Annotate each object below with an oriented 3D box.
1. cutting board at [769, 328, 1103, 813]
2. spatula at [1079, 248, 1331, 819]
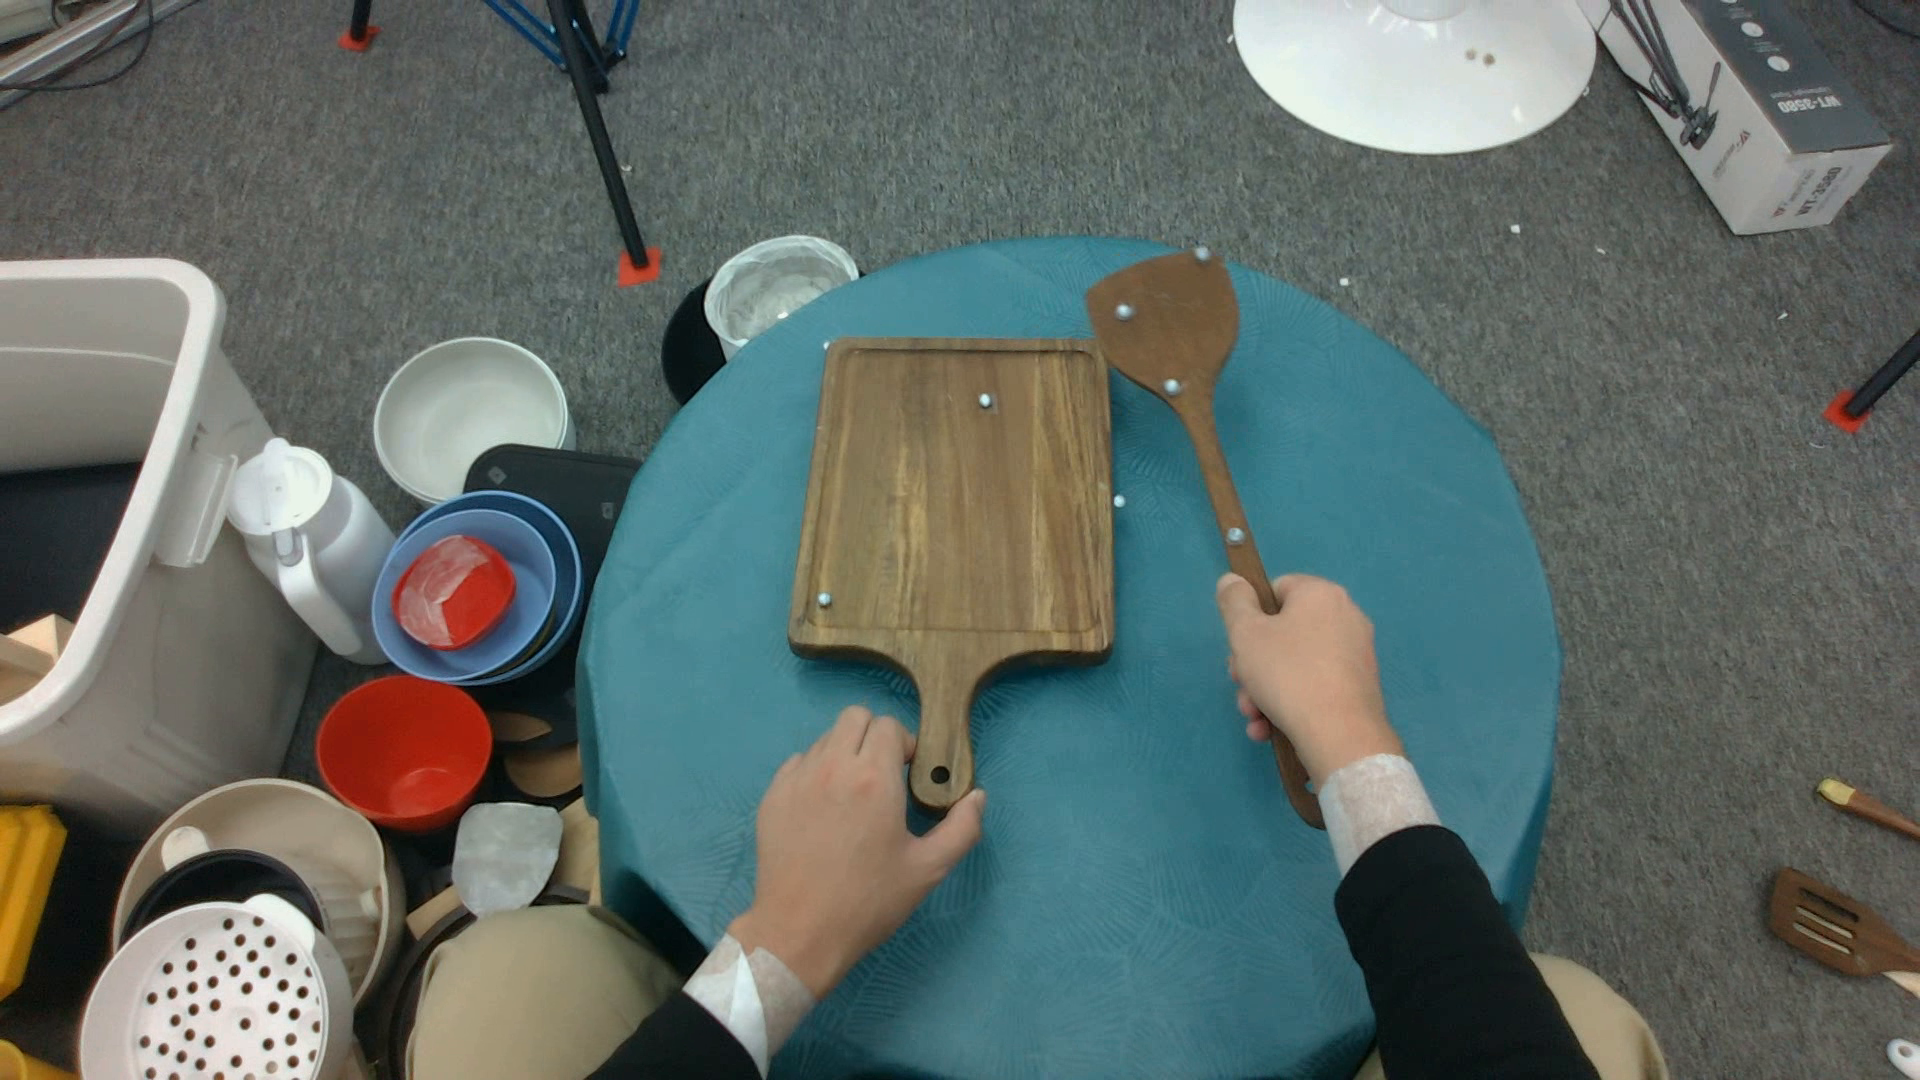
[{"bbox_3d":[-0.014,0.002,0.855,0.201,0.023,0.354,1,55,2],"label":"cutting board"},{"bbox_3d":[0.151,-0.021,0.809,0.096,0.016,0.387,-14,59,6],"label":"spatula"}]
